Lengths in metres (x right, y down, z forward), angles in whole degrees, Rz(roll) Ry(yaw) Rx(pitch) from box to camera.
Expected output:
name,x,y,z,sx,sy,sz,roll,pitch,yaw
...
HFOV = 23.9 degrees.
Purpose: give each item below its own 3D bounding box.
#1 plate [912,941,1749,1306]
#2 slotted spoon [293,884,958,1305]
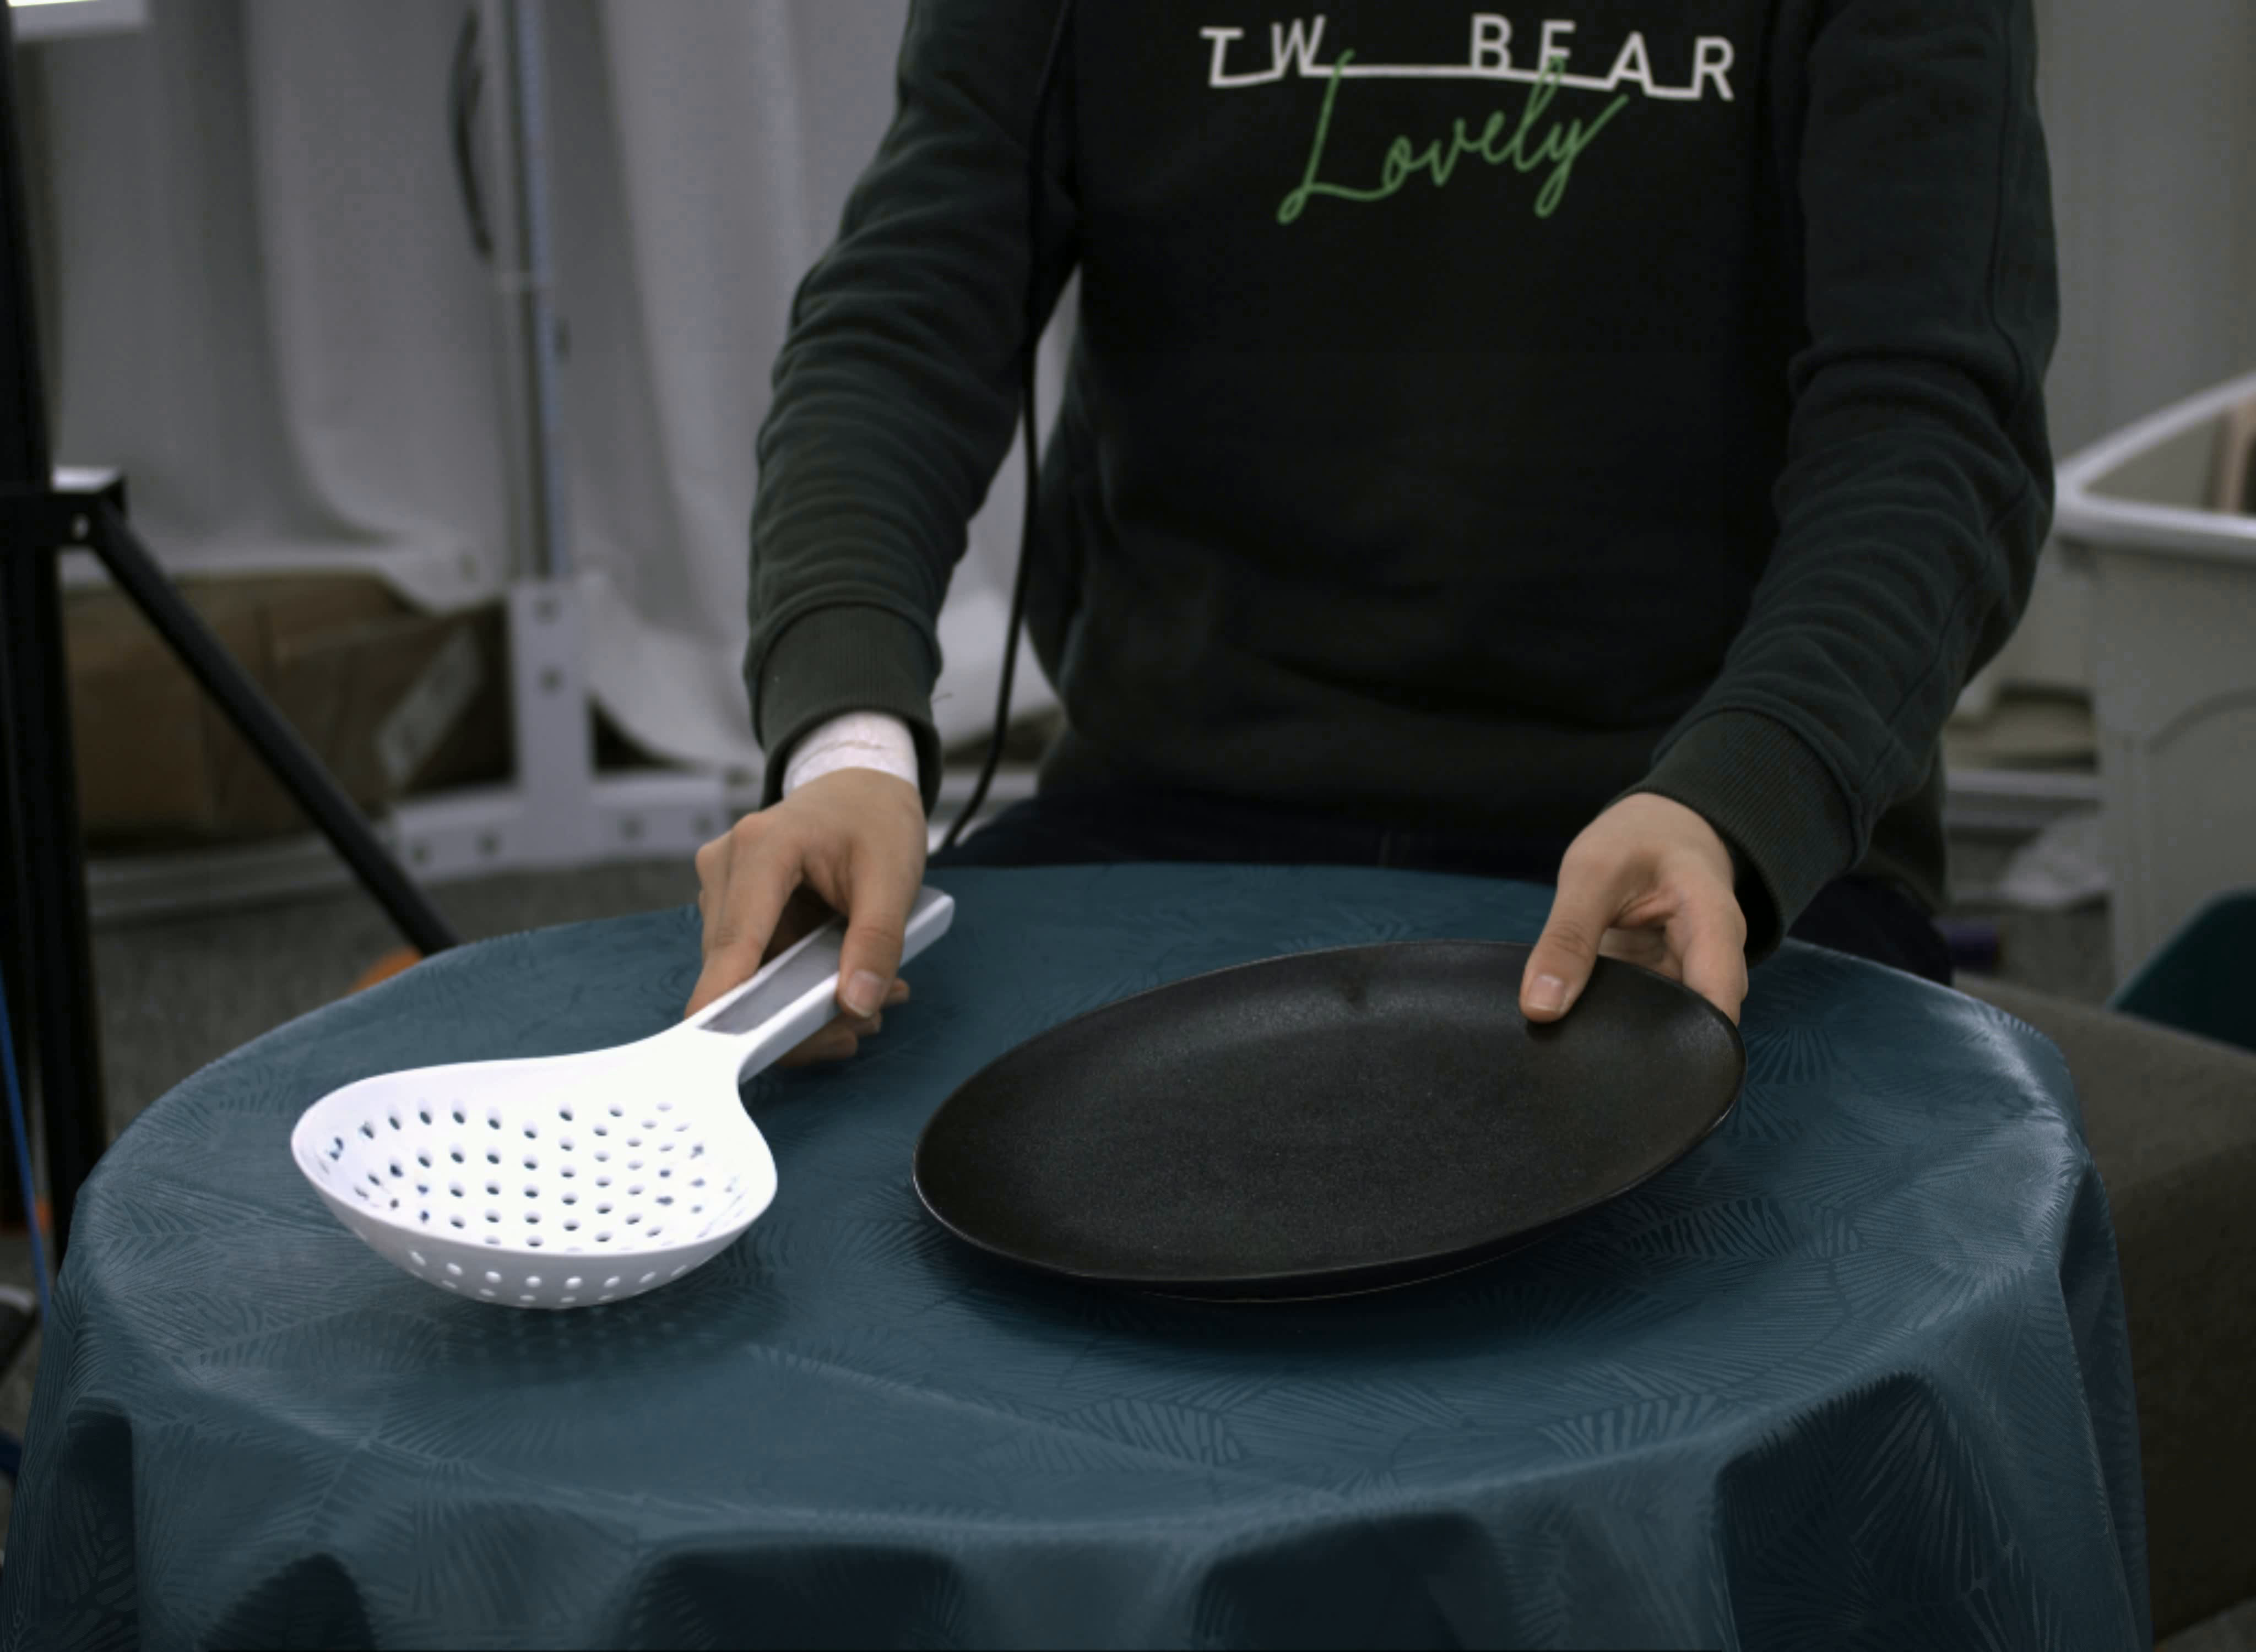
name,x,y,z,sx,sy,sz,roll,pitch,yaw
plate,0.059,0.089,1.532,0.243,0.023,0.246,-9,19,2
slotted spoon,-0.129,0.071,1.593,0.137,0.046,0.346,15,24,18
